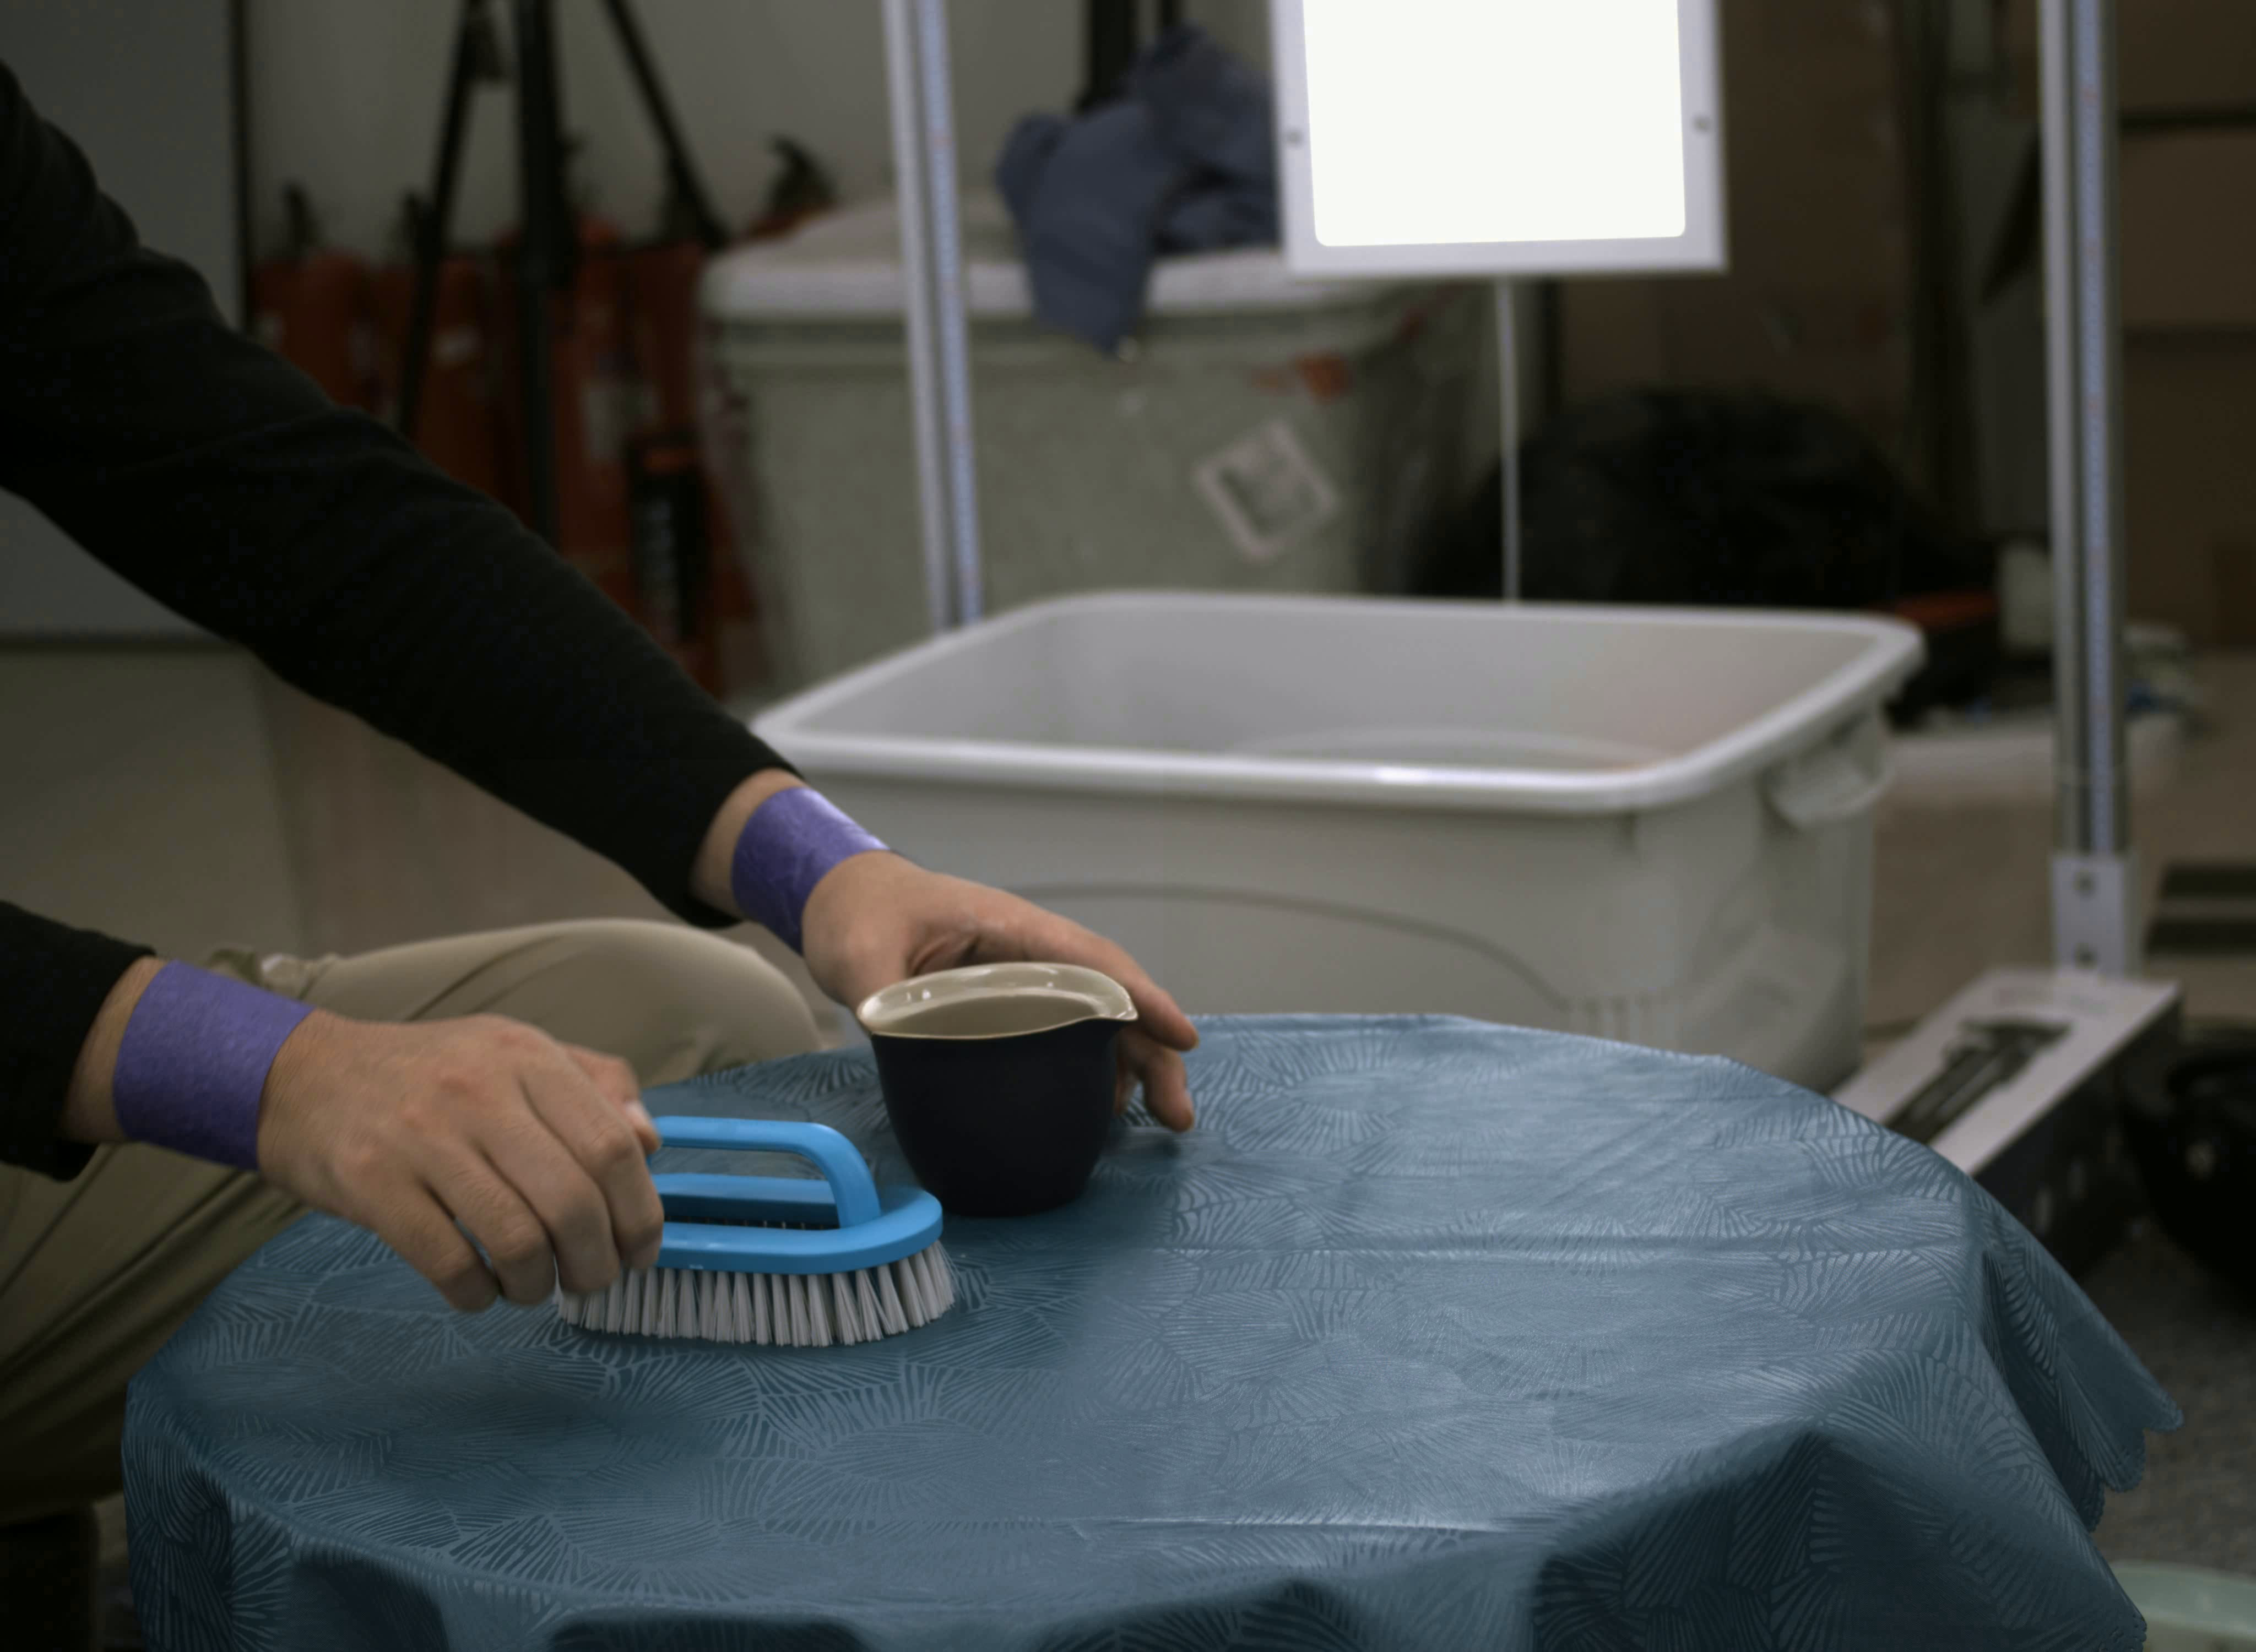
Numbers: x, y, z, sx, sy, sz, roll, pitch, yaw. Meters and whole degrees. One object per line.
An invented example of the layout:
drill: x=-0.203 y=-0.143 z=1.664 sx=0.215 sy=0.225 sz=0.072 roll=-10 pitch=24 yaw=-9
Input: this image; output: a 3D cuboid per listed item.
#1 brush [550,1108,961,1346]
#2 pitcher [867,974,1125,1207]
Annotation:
brush: x=-0.126 y=0.125 z=1.811 sx=0.144 sy=0.064 sz=0.082 roll=1 pitch=19 yaw=27
pitcher: x=-0.042 y=0.091 z=1.898 sx=0.098 sy=0.071 sz=0.081 roll=6 pitch=16 yaw=33
